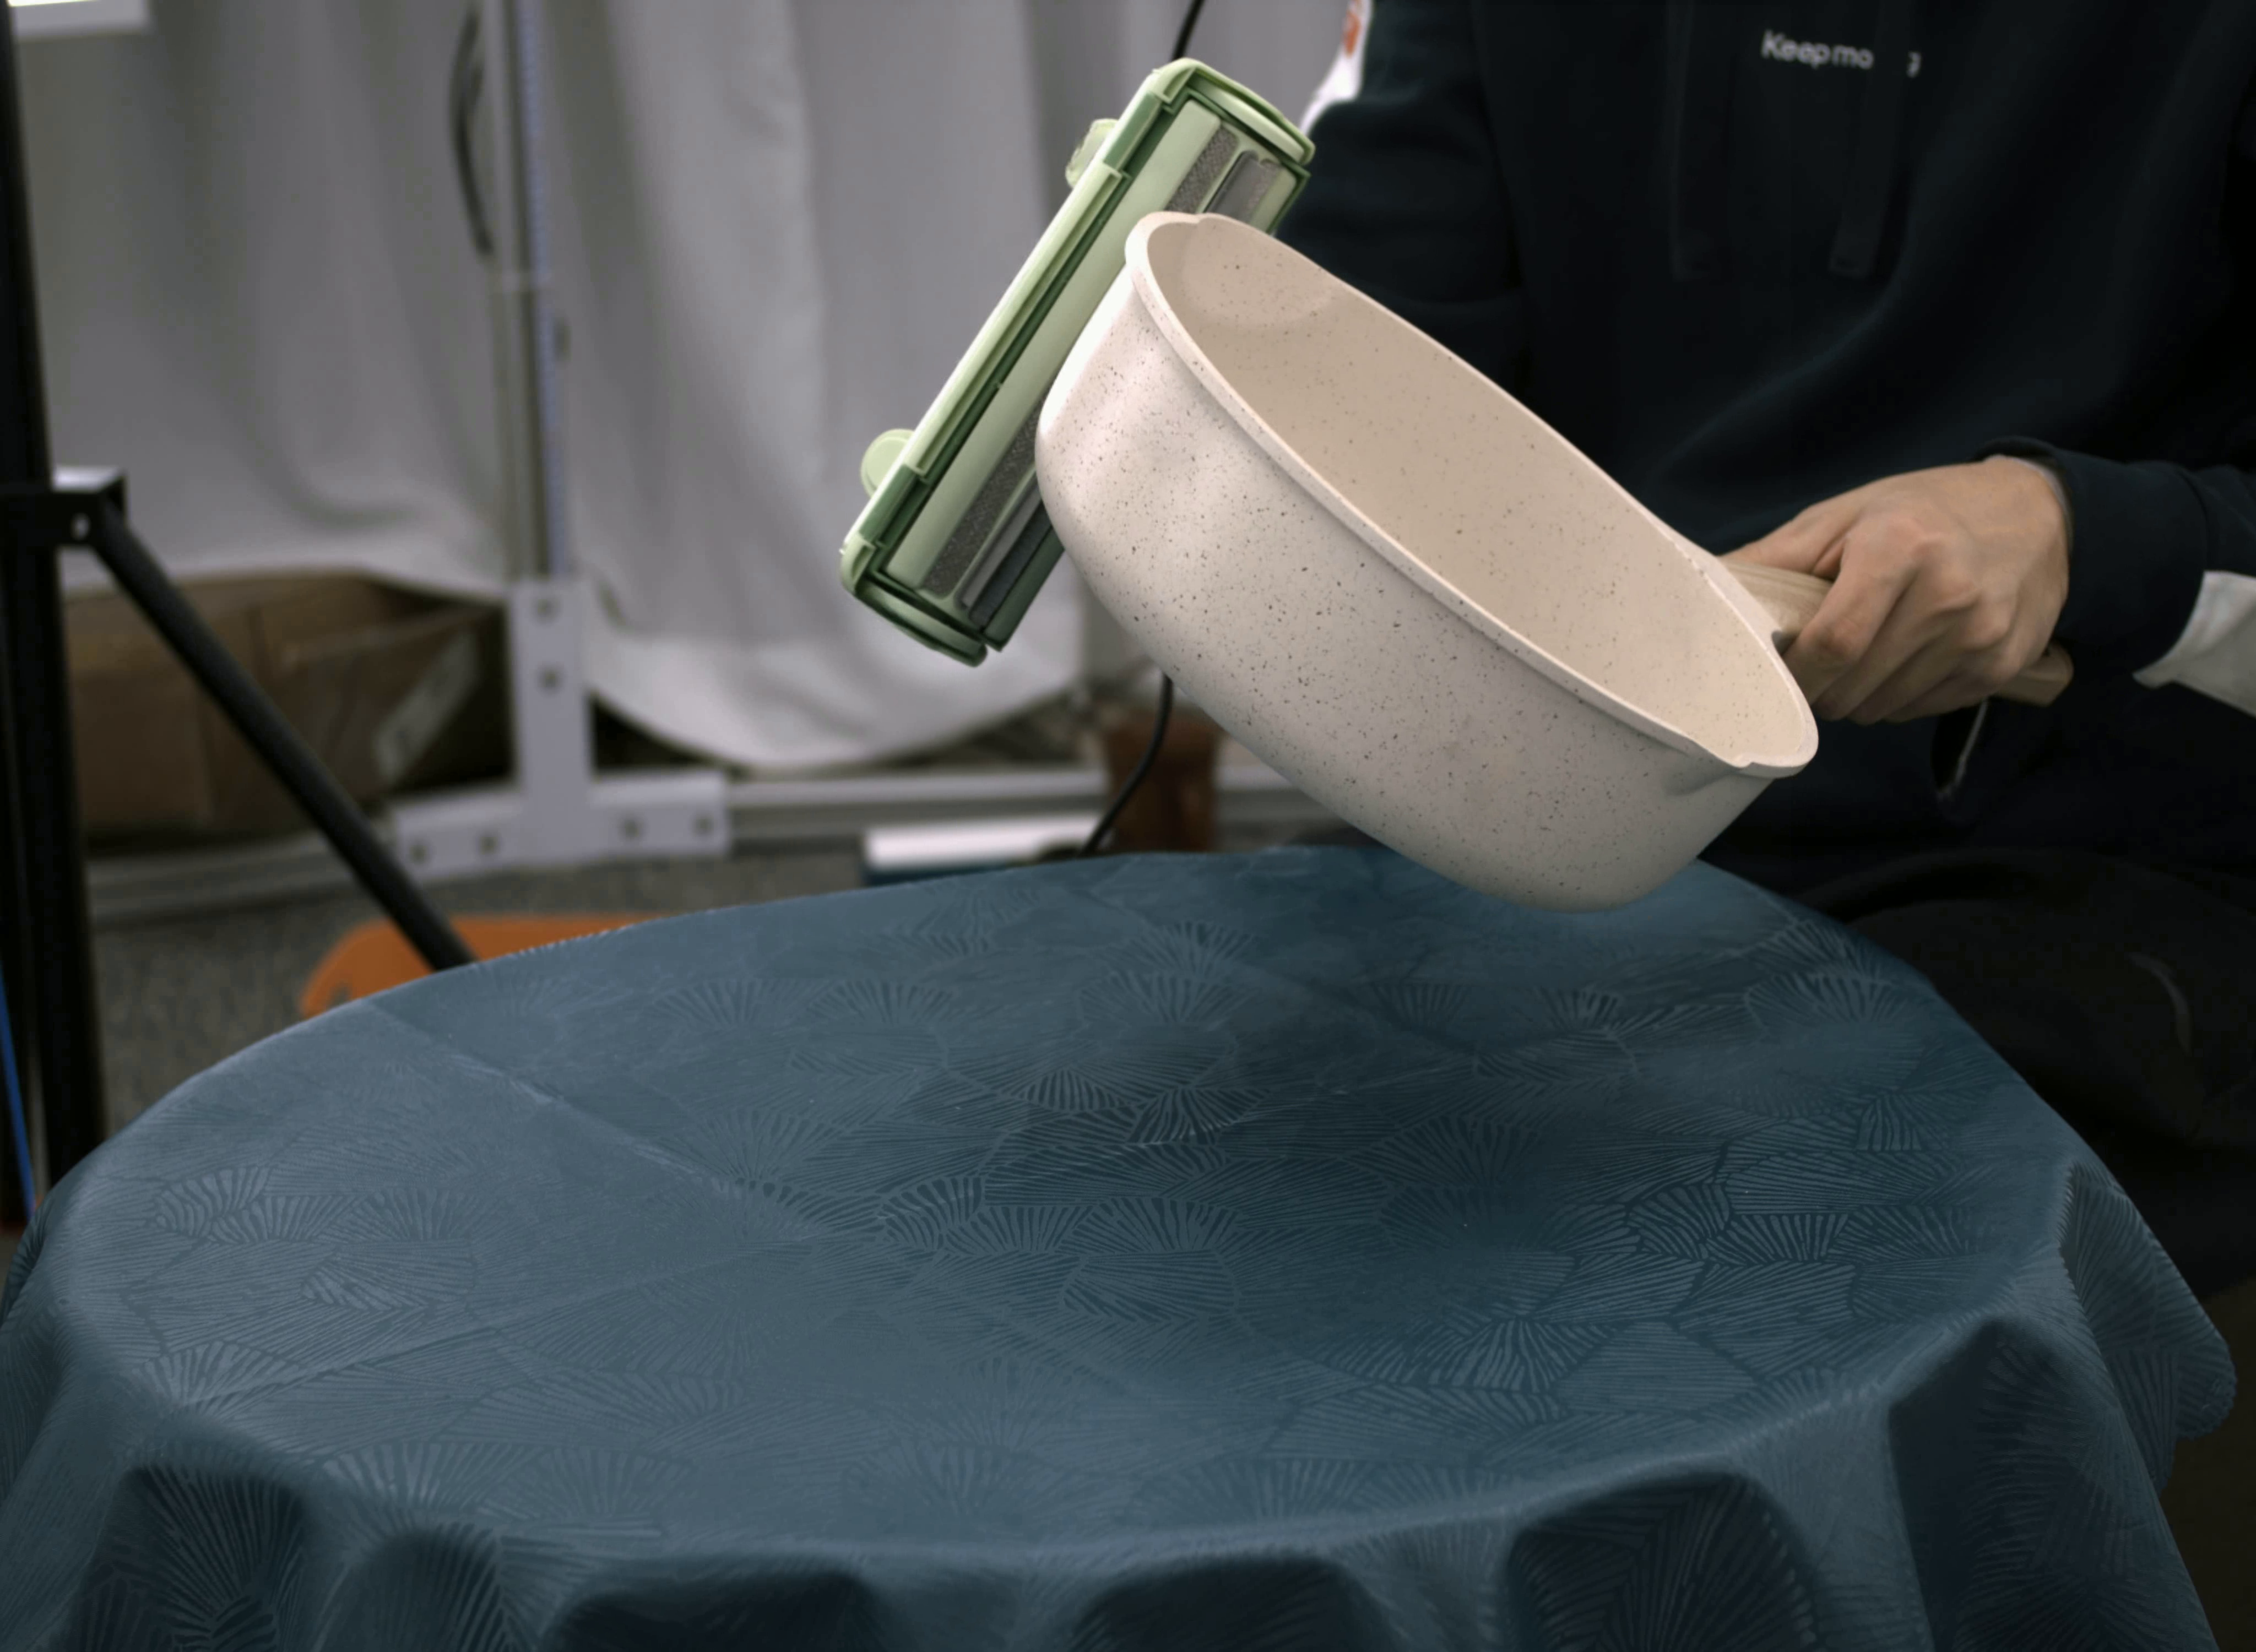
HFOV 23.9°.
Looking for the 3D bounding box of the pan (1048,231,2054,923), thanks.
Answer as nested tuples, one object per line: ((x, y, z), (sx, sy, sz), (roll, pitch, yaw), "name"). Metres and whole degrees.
((0.145, -0.055, 1.621), (0.423, 0.102, 0.269), (17, 24, -48), "pan")

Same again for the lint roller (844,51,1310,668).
((-0.006, -0.140, 1.703), (0.083, 0.199, 0.180), (34, 3, 20), "lint roller")
